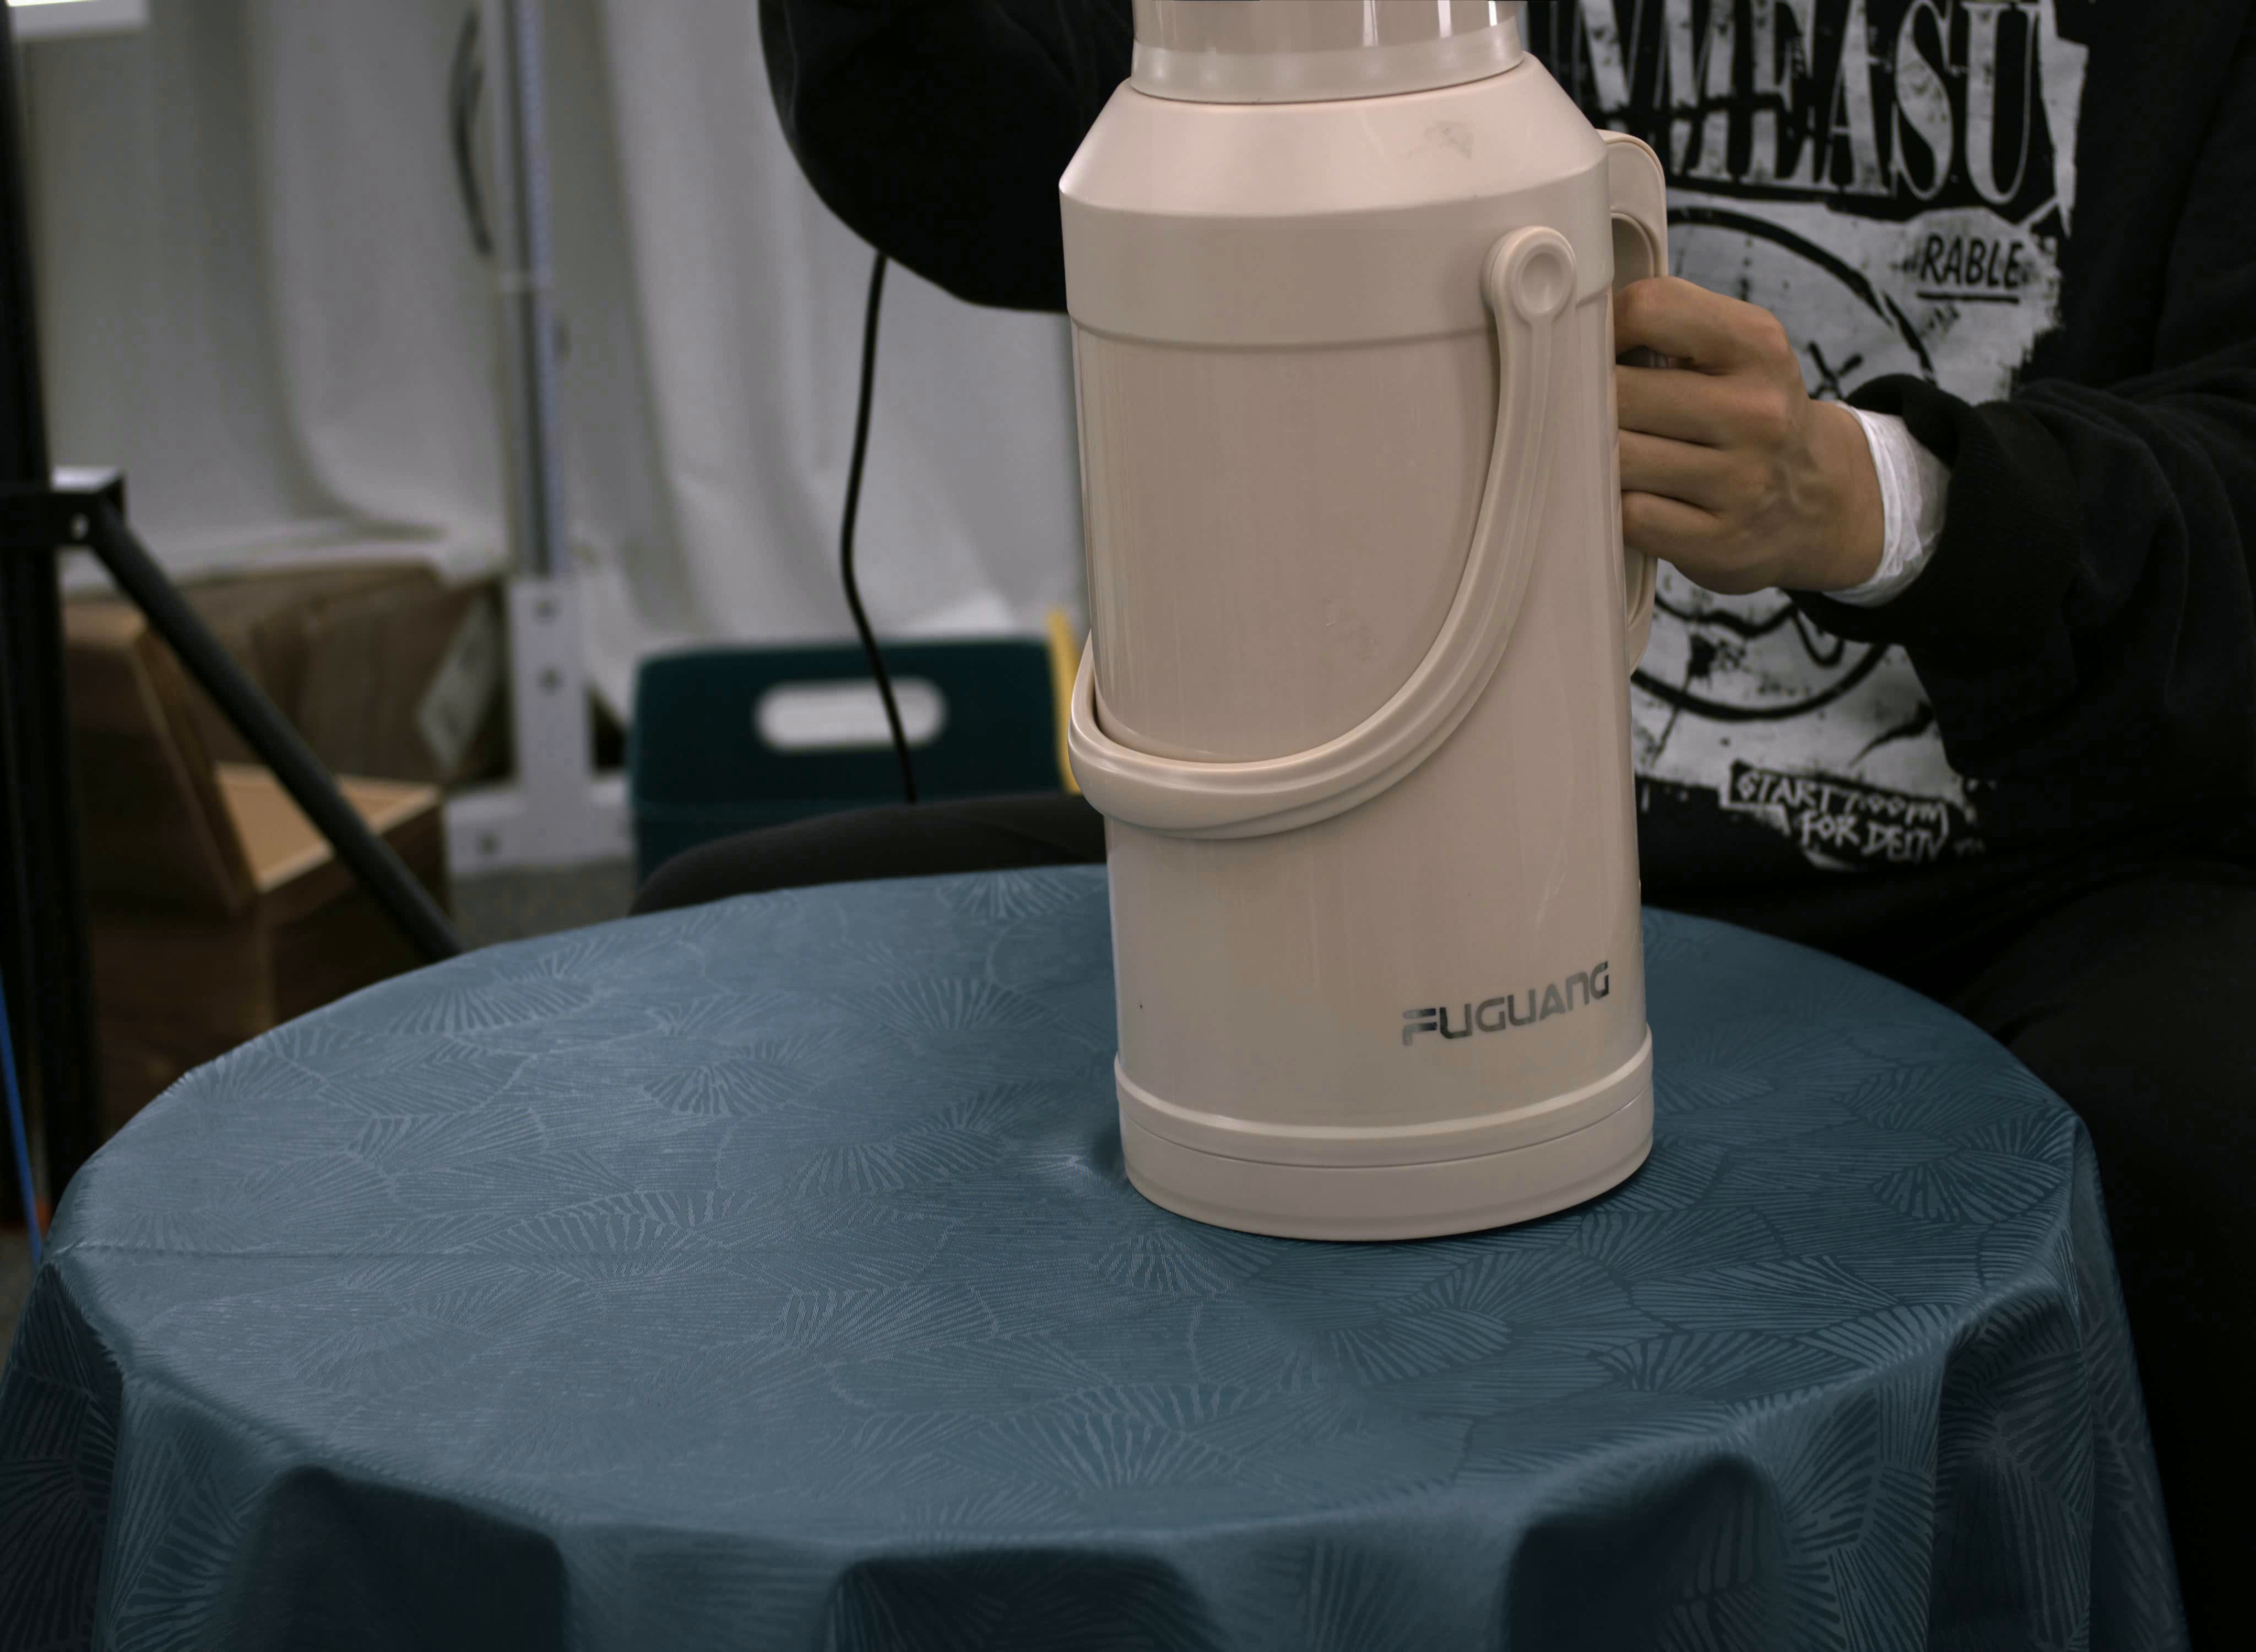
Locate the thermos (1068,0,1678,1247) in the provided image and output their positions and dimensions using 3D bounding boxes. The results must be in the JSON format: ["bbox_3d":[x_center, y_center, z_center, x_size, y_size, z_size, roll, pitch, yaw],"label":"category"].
[{"bbox_3d":[0.079,-0.096,1.530,0.202,0.406,0.179,-15,17,-35],"label":"thermos"}]
